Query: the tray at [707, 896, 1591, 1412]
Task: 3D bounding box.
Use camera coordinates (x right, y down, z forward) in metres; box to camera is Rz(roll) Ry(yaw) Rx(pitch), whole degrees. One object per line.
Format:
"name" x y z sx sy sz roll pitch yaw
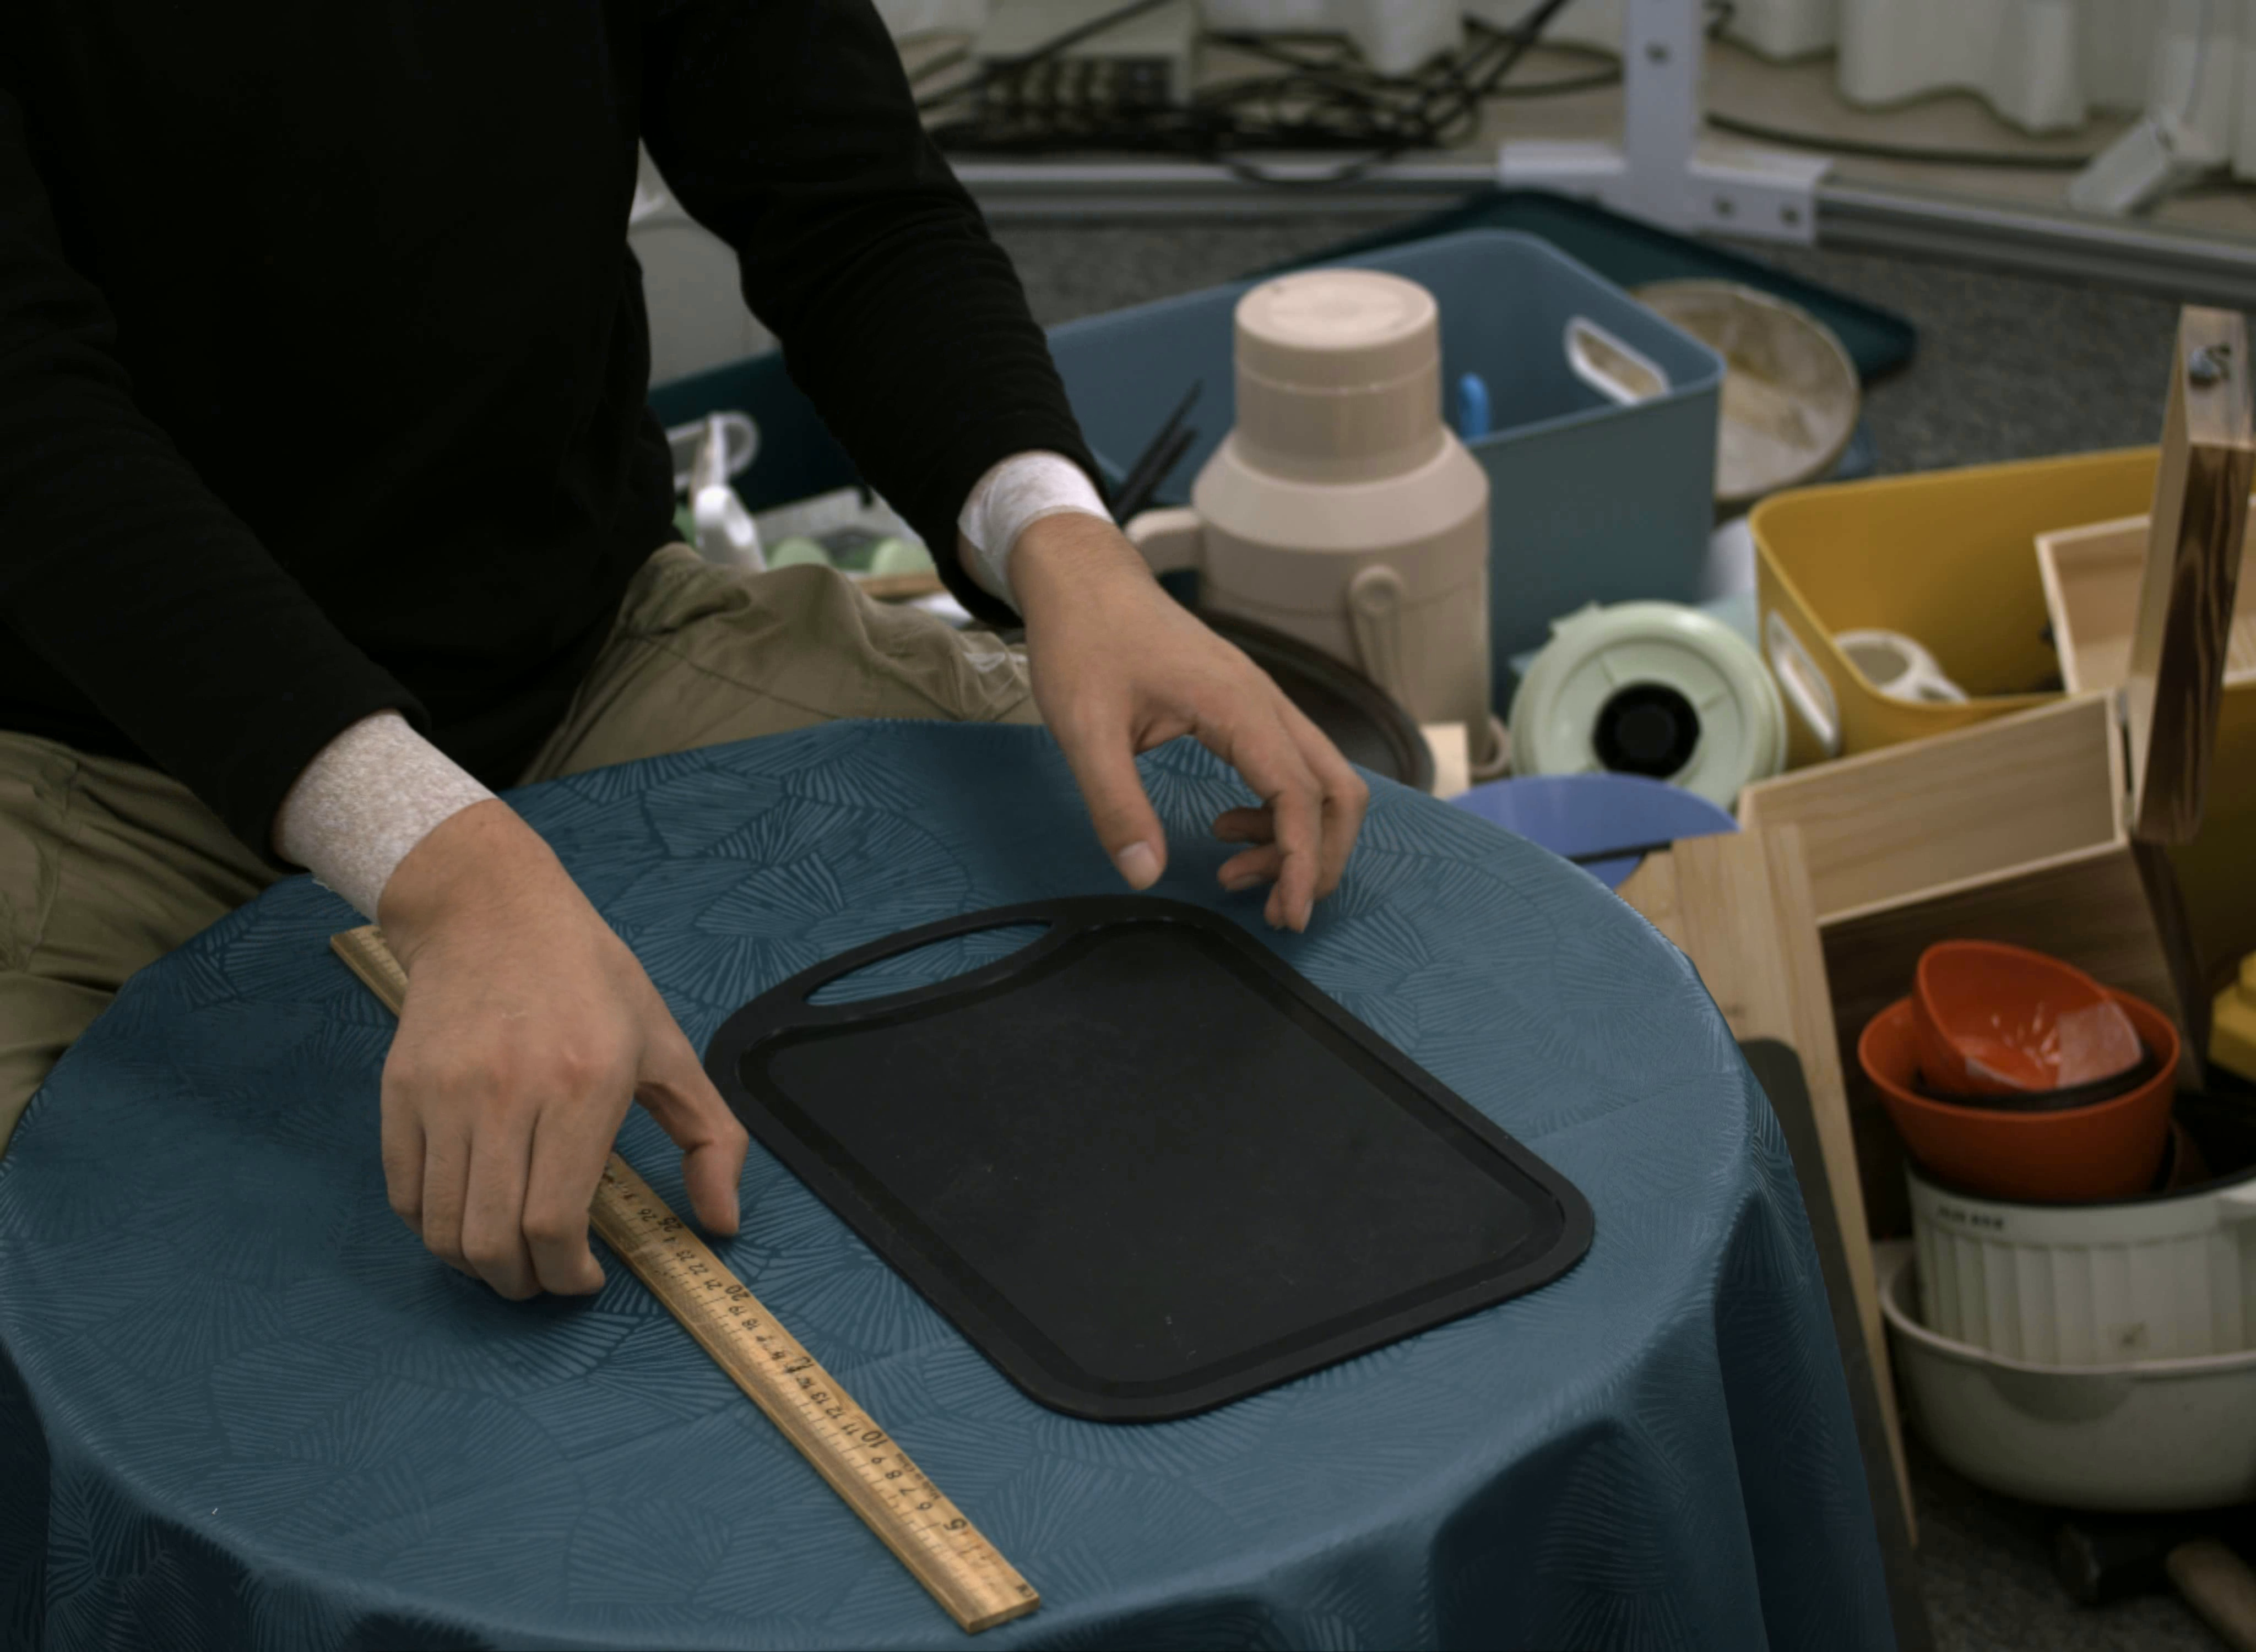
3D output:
"tray" -0.003 0.101 1.894 0.212 0.009 0.327 -17 30 -25

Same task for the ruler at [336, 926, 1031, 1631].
"ruler" -0.157 0.136 1.843 0.027 0.006 0.503 -13 29 -26
